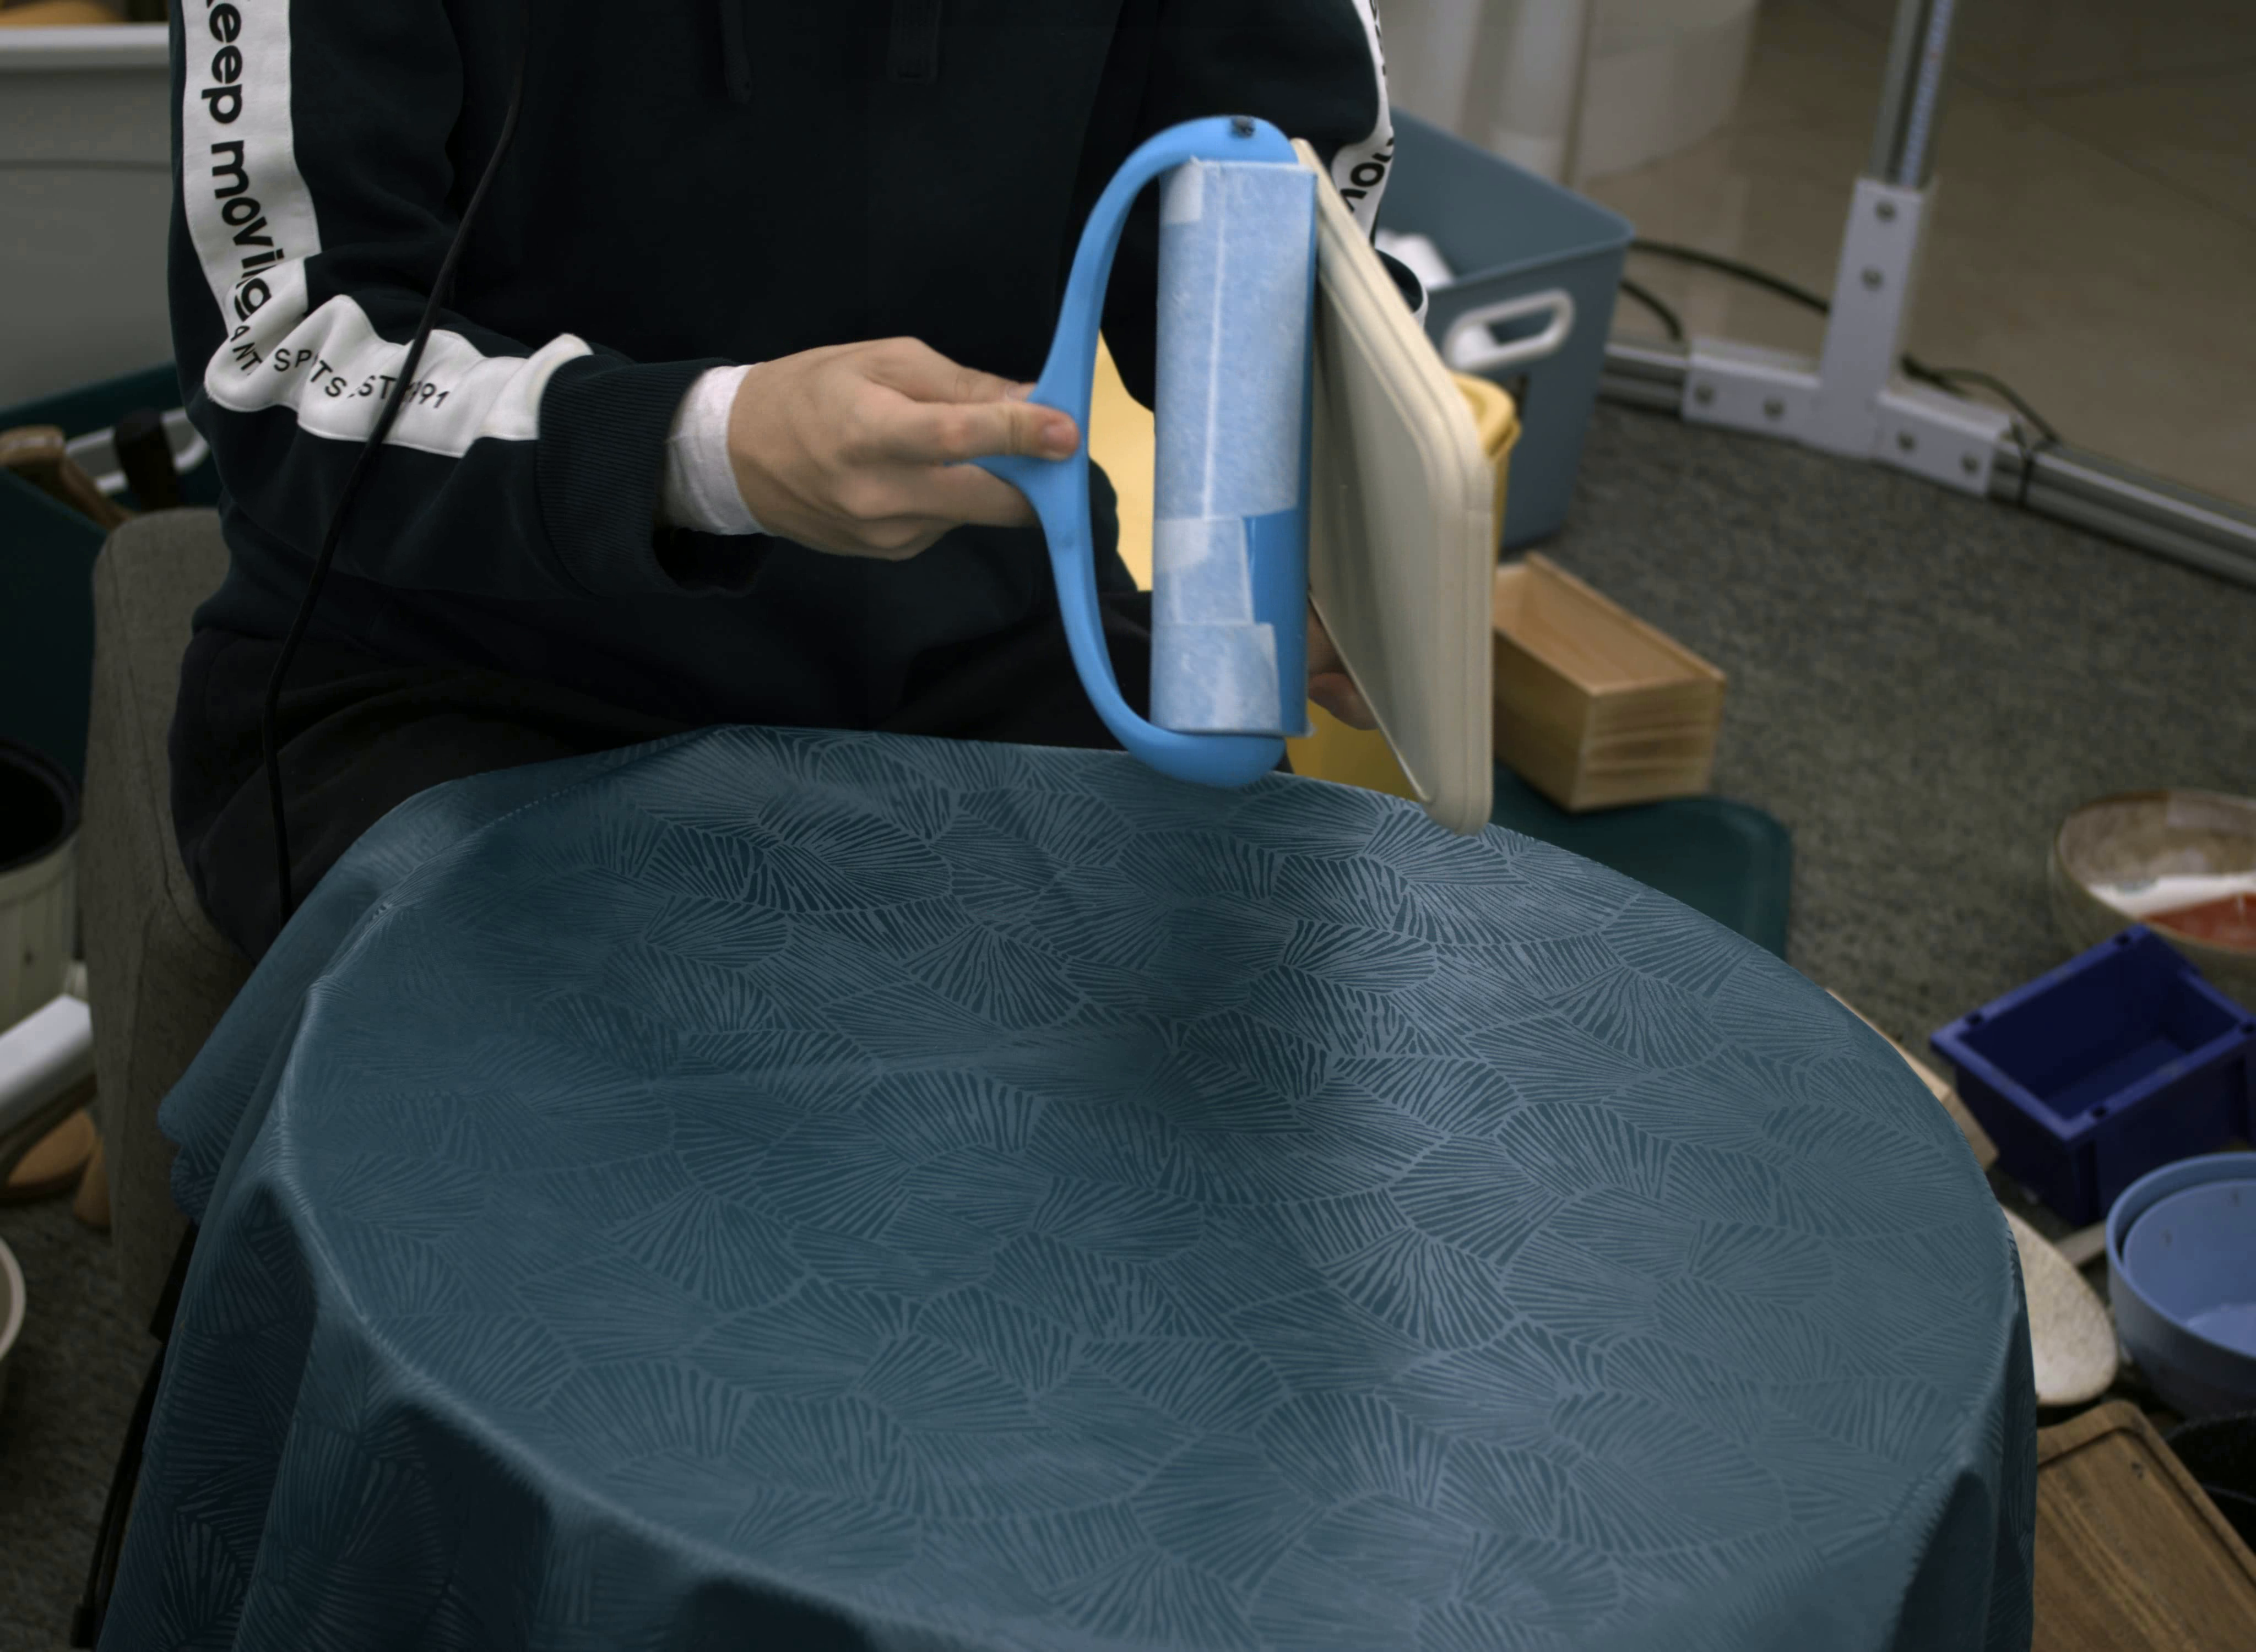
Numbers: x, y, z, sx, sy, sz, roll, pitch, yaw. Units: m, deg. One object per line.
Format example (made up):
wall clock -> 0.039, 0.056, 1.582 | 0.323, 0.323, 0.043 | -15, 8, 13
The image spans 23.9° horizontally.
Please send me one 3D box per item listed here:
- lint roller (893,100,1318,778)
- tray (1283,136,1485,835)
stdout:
lint roller -> -0.017, -0.128, 1.825 | 0.181, 0.229, 0.067 | -3, -3, 29
tray -> 0.078, -0.118, 1.830 | 0.017, 0.170, 0.242 | -11, 35, -11
